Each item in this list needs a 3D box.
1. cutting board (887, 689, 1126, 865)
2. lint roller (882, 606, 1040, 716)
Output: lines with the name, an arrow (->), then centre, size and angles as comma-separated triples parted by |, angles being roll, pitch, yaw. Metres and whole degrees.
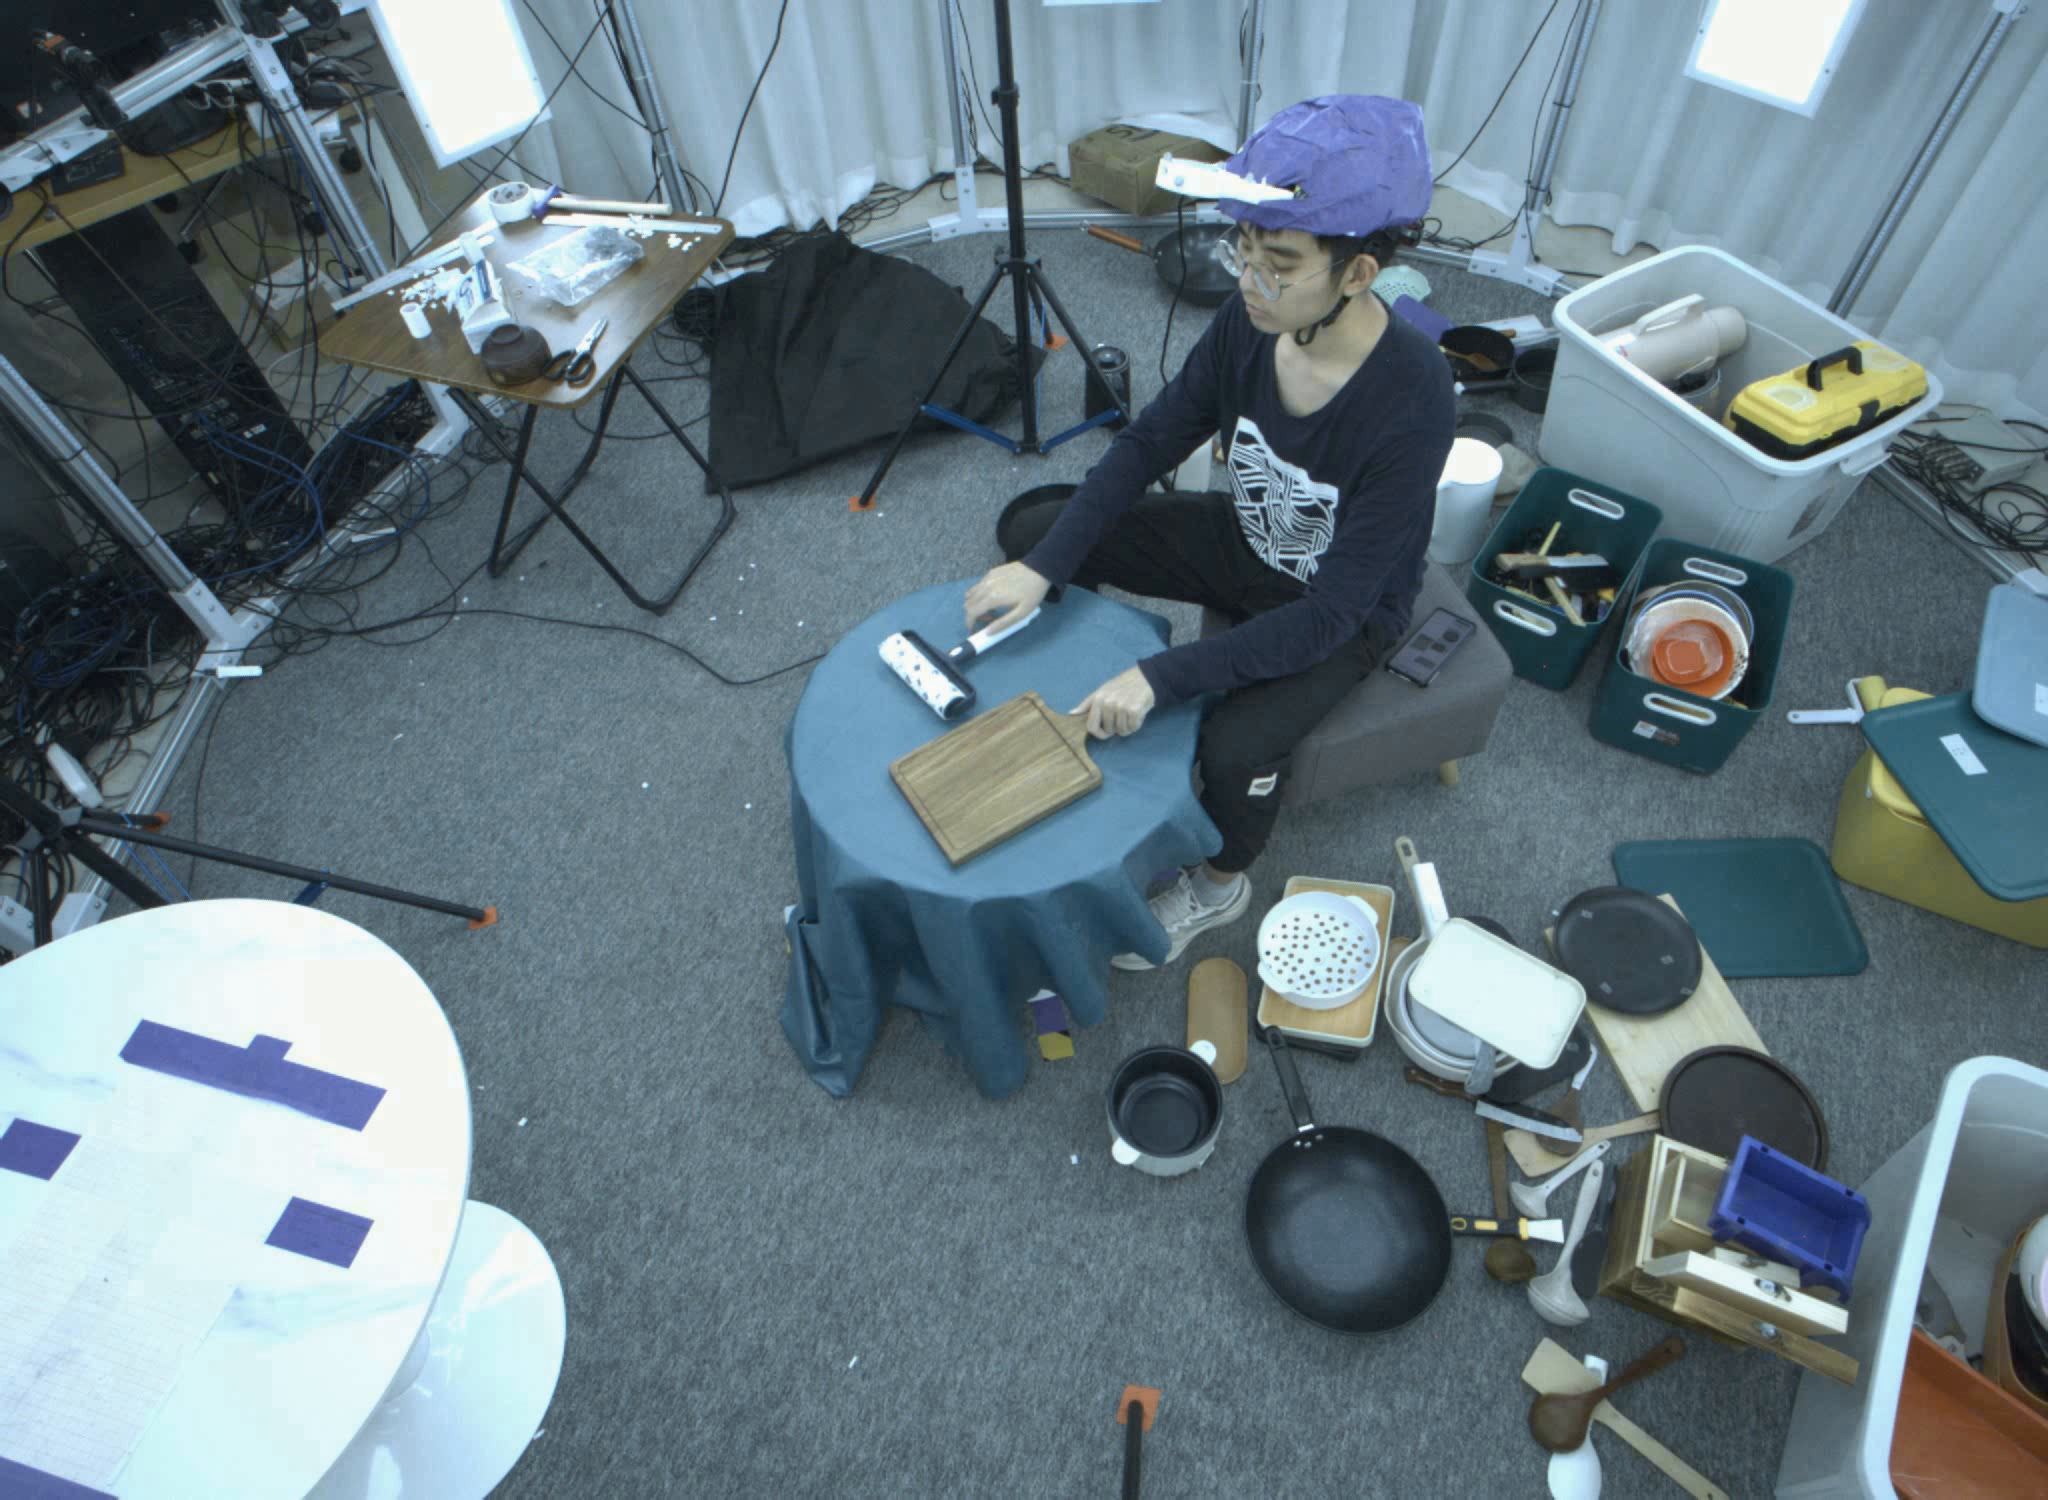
cutting board -> 0.000, 0.010, 1.770 | 0.355, 0.023, 0.197 | -29, 59, -17
lint roller -> -0.076, -0.166, 1.891 | 0.249, 0.051, 0.173 | -34, 59, -24
